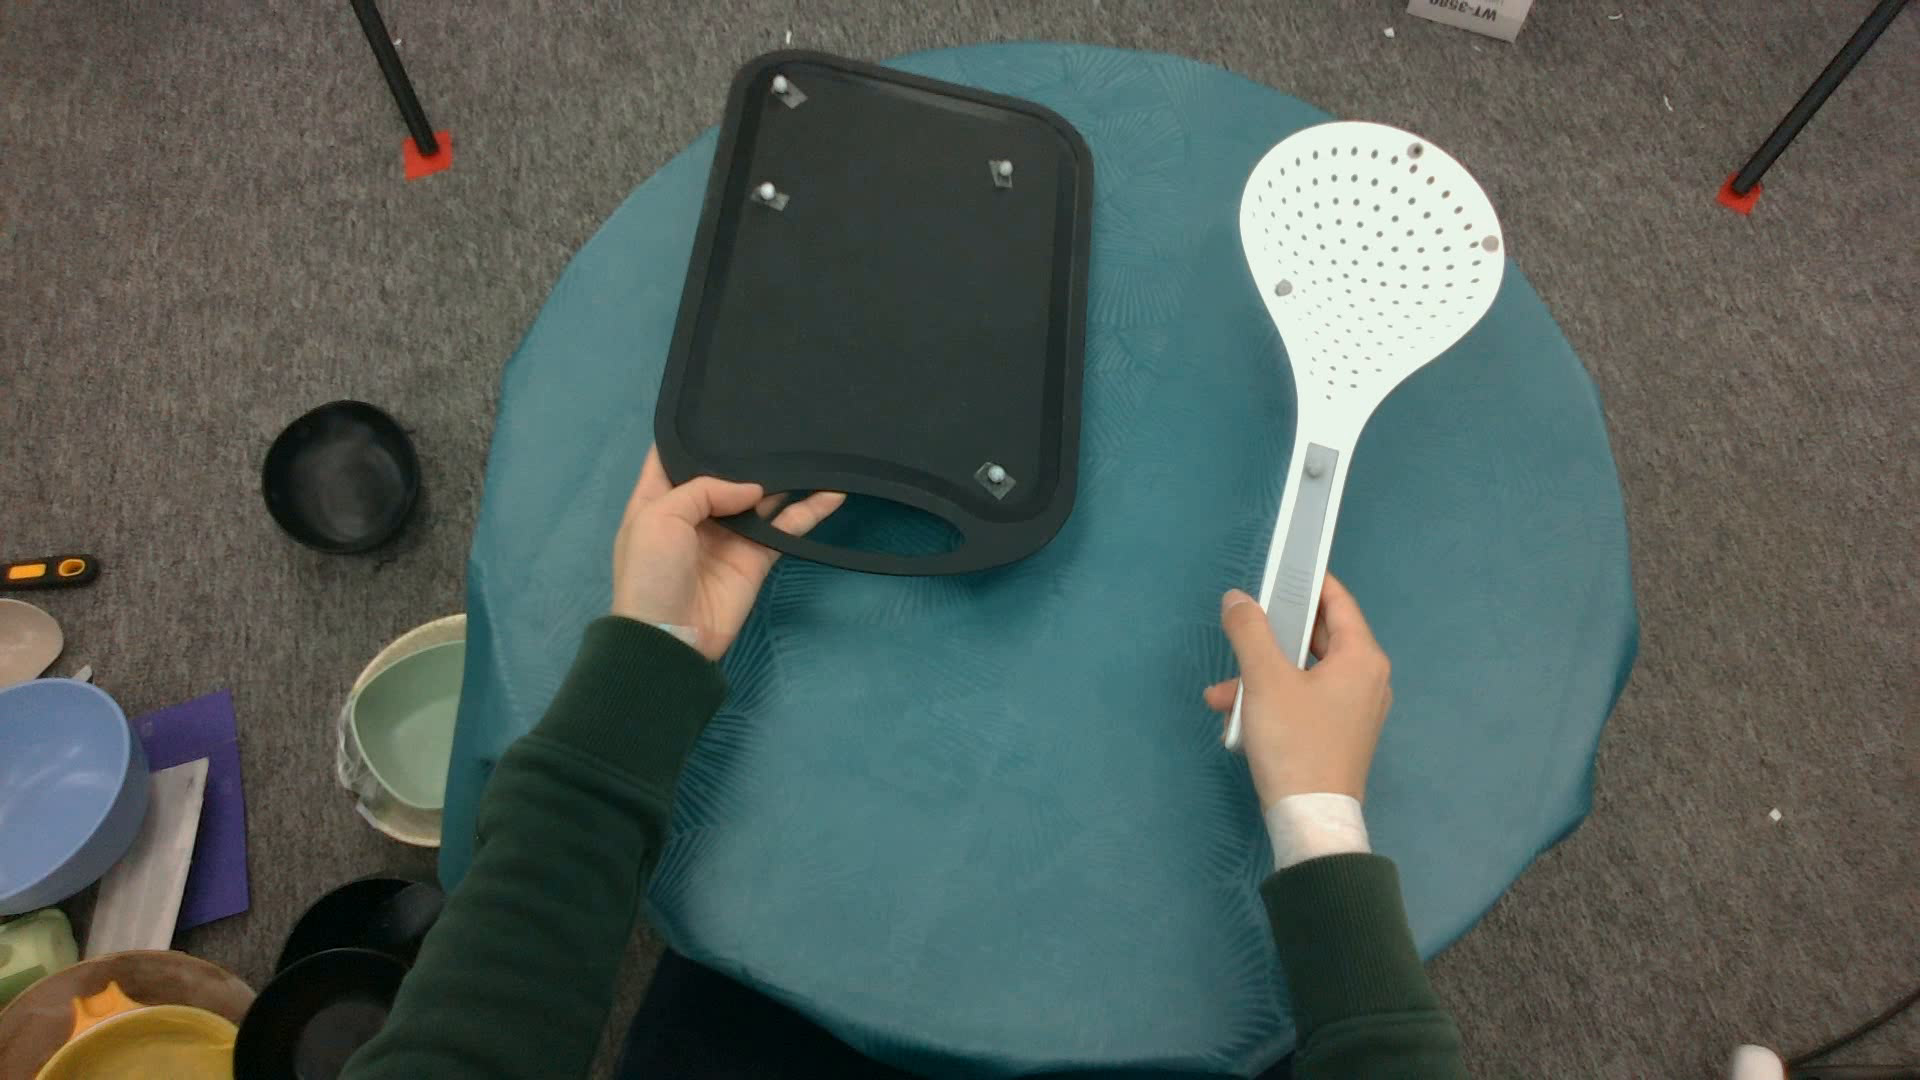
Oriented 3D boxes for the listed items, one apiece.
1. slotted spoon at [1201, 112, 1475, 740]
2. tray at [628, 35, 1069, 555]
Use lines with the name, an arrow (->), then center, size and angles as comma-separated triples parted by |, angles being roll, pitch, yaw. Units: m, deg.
slotted spoon -> 0.169, -0.068, 0.675 | 0.136, 0.045, 0.351 | 17, 63, 1
tray -> -0.047, -0.138, 0.719 | 0.211, 0.010, 0.327 | 10, 60, -9
